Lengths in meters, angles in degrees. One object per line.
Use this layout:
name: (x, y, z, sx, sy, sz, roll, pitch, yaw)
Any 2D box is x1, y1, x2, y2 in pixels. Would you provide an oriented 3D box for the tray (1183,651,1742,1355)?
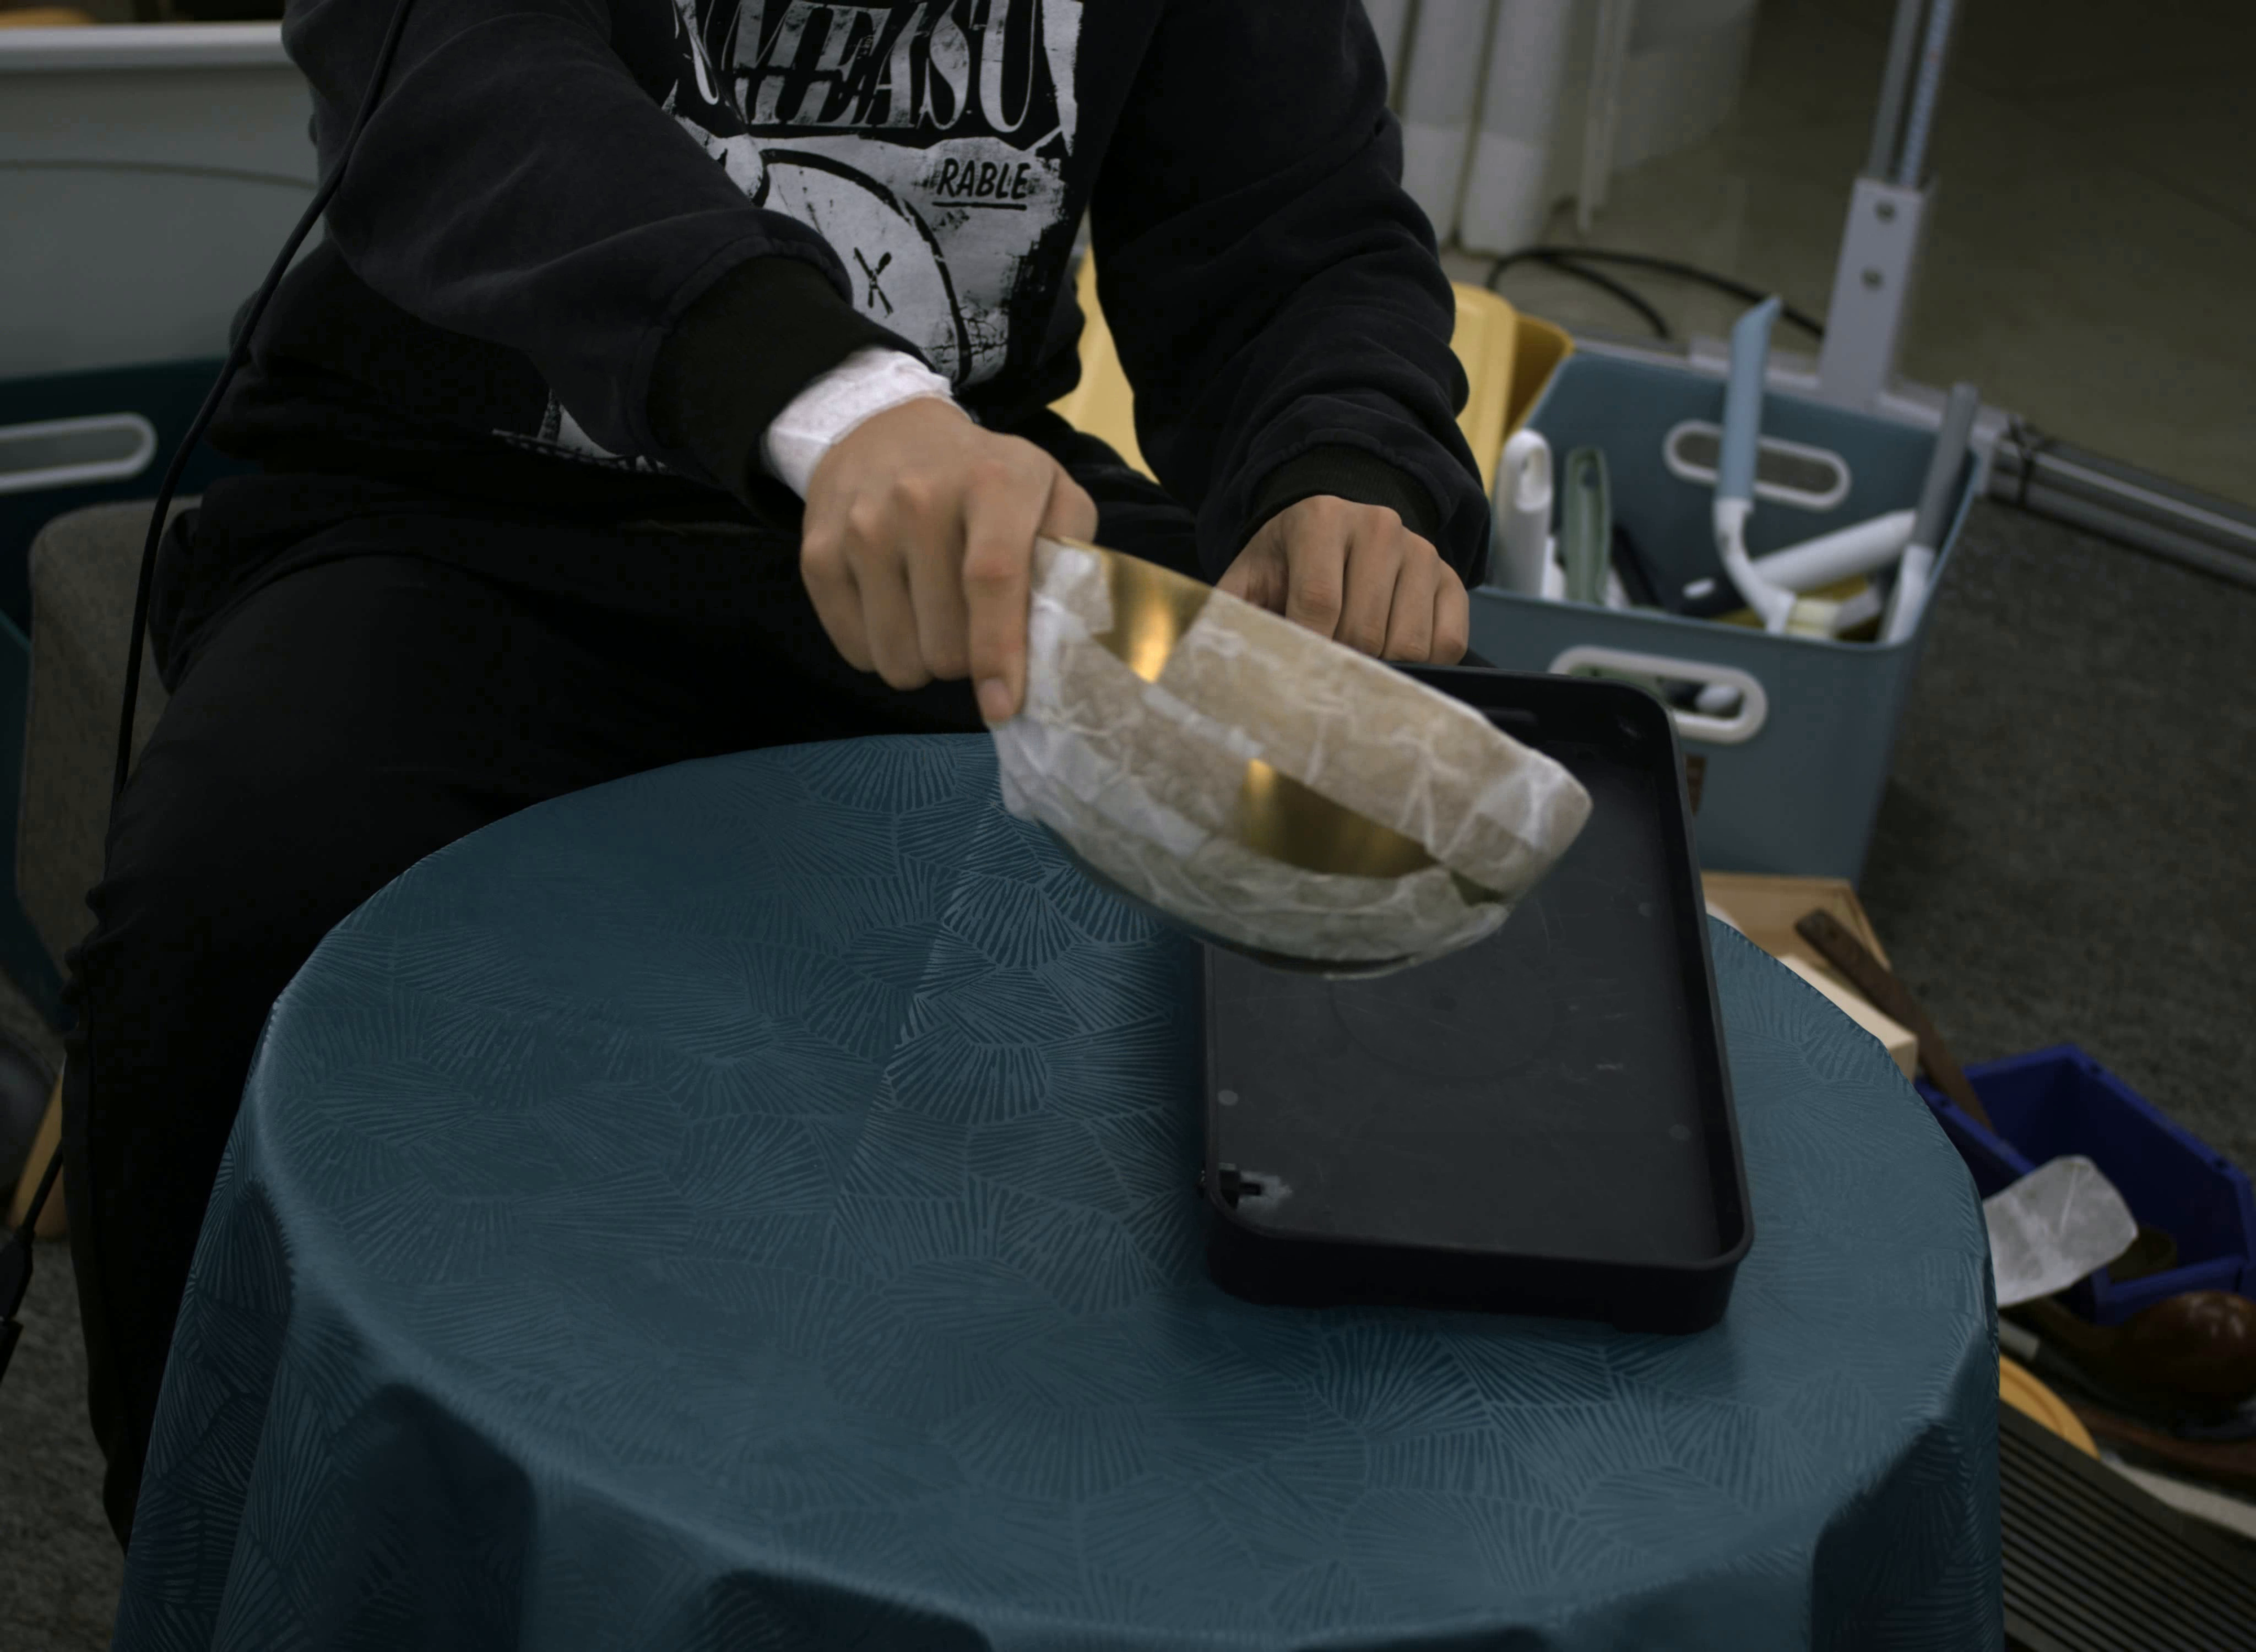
tray: (0.112, 0.054, 1.861, 0.183, 0.037, 0.320, 6, 39, -4)

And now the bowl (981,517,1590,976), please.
bowl: (0.035, -0.010, 1.673, 0.214, 0.095, 0.214, 25, -4, 2)
